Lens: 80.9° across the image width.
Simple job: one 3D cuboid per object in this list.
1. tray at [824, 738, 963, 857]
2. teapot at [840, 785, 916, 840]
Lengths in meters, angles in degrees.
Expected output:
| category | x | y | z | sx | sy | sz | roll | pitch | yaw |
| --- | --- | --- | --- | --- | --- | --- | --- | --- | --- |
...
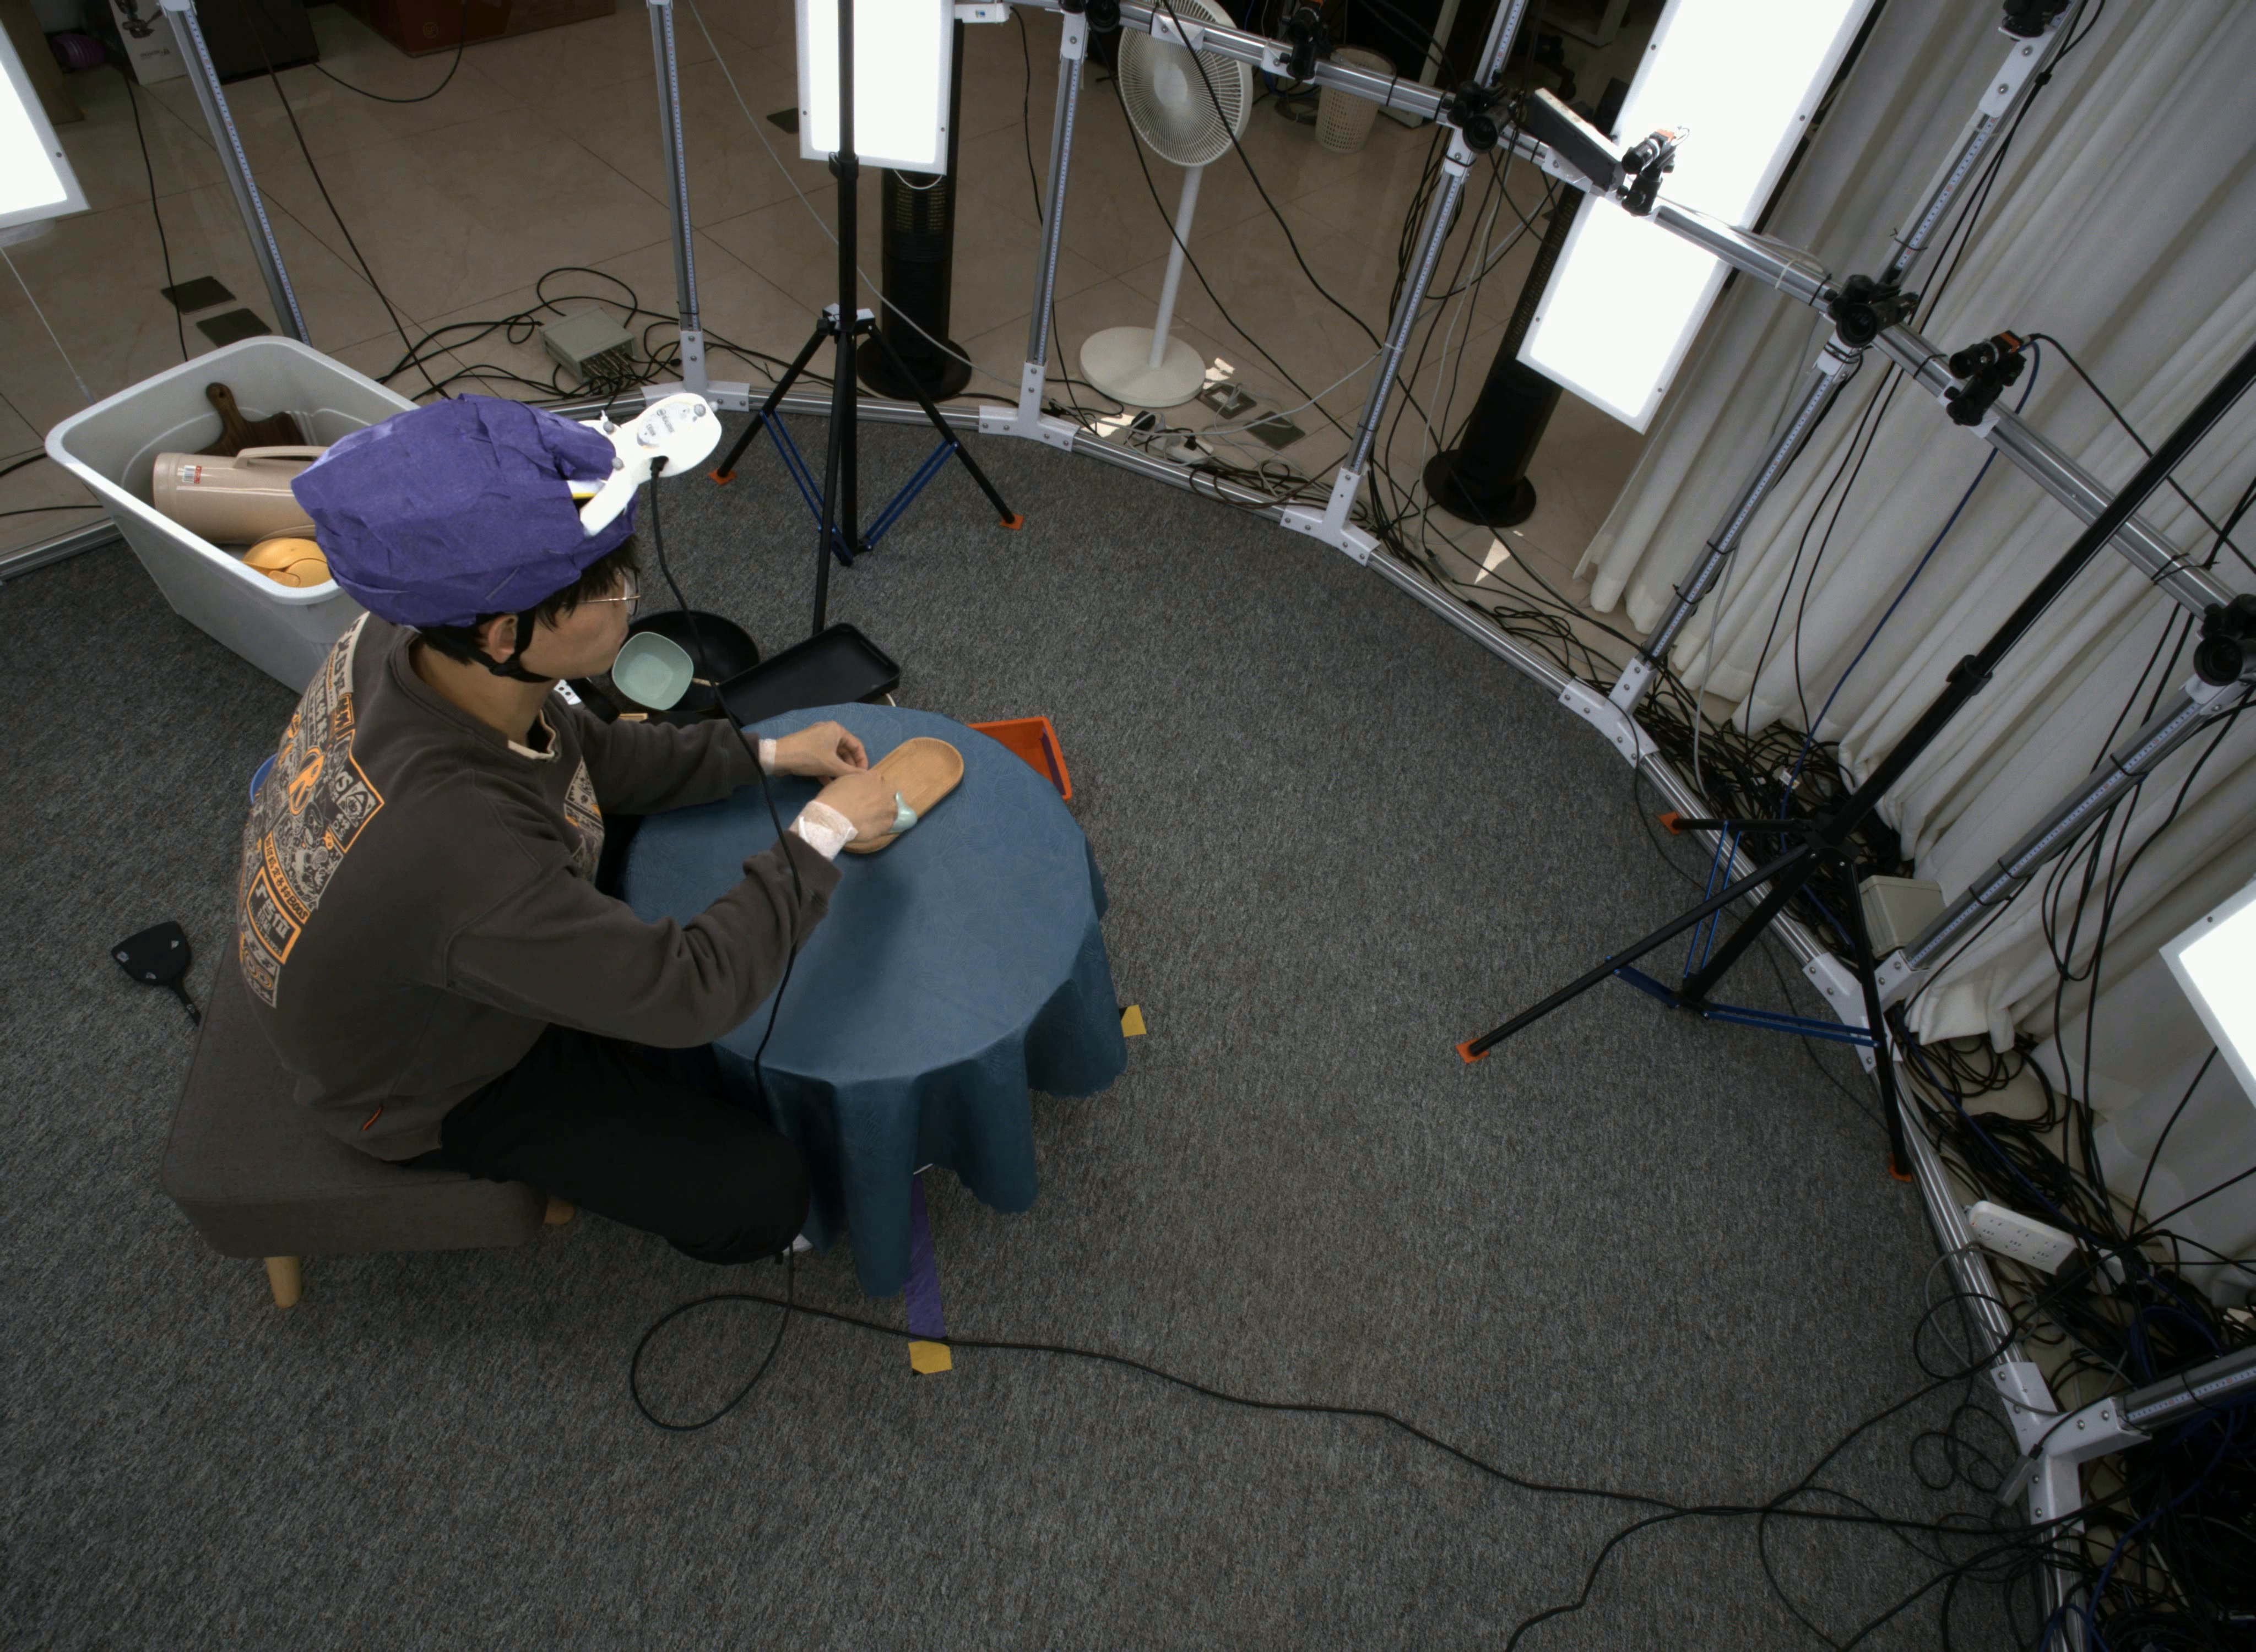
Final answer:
| category | x | y | z | sx | sy | sz | roll | pitch | yaw |
| --- | --- | --- | --- | --- | --- | --- | --- | --- | --- |
| tray | -0.319 | -0.041 | 1.783 | 0.100 | 0.021 | 0.231 | 35 | 55 | 13 |
| teapot | -0.317 | -0.017 | 1.639 | 0.096 | 0.135 | 0.062 | -6 | 89 | -11 |
